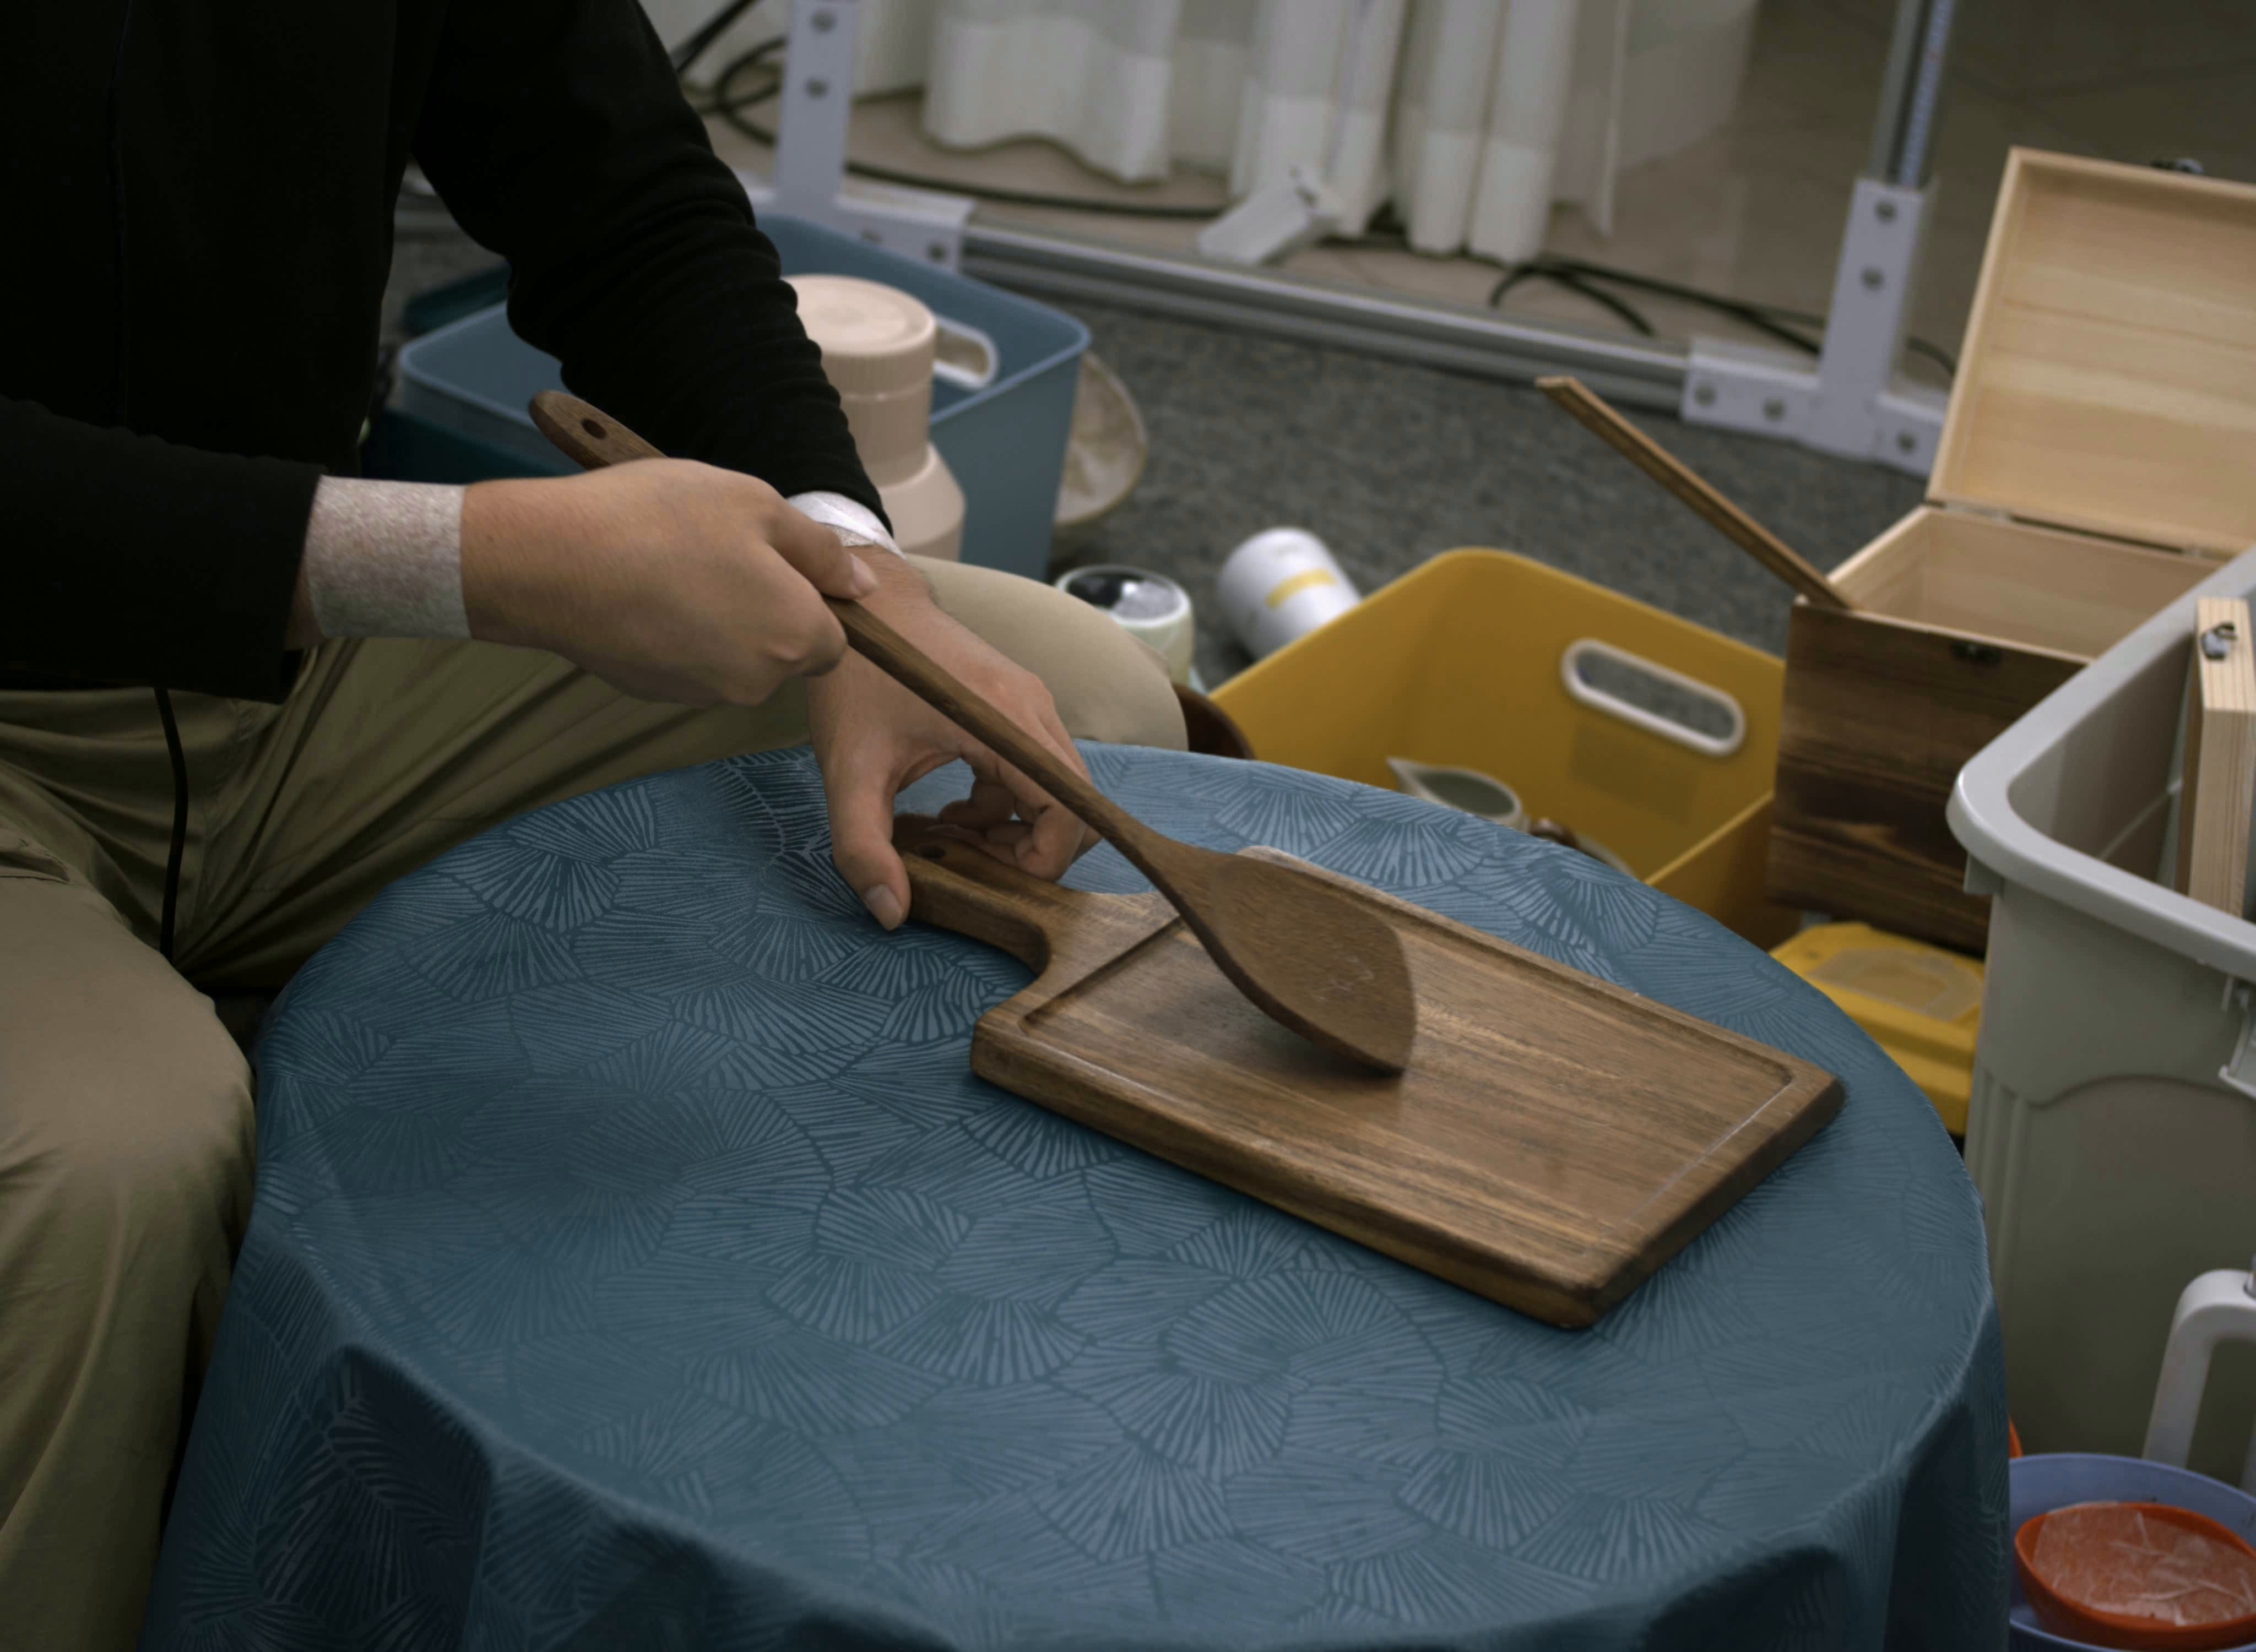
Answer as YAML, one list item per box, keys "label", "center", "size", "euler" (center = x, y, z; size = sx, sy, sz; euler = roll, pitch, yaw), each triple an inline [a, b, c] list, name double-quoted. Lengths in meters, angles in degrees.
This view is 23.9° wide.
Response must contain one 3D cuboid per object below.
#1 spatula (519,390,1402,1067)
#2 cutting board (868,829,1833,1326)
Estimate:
- label: "spatula"
  center: [-0.053, -0.037, 1.842]
  size: [0.384, 0.016, 0.096]
  euler: [36, 26, -16]
- label: "cutting board"
  center: [0.056, 0.069, 1.895]
  size: [0.354, 0.023, 0.200]
  euler: [21, 30, 26]
